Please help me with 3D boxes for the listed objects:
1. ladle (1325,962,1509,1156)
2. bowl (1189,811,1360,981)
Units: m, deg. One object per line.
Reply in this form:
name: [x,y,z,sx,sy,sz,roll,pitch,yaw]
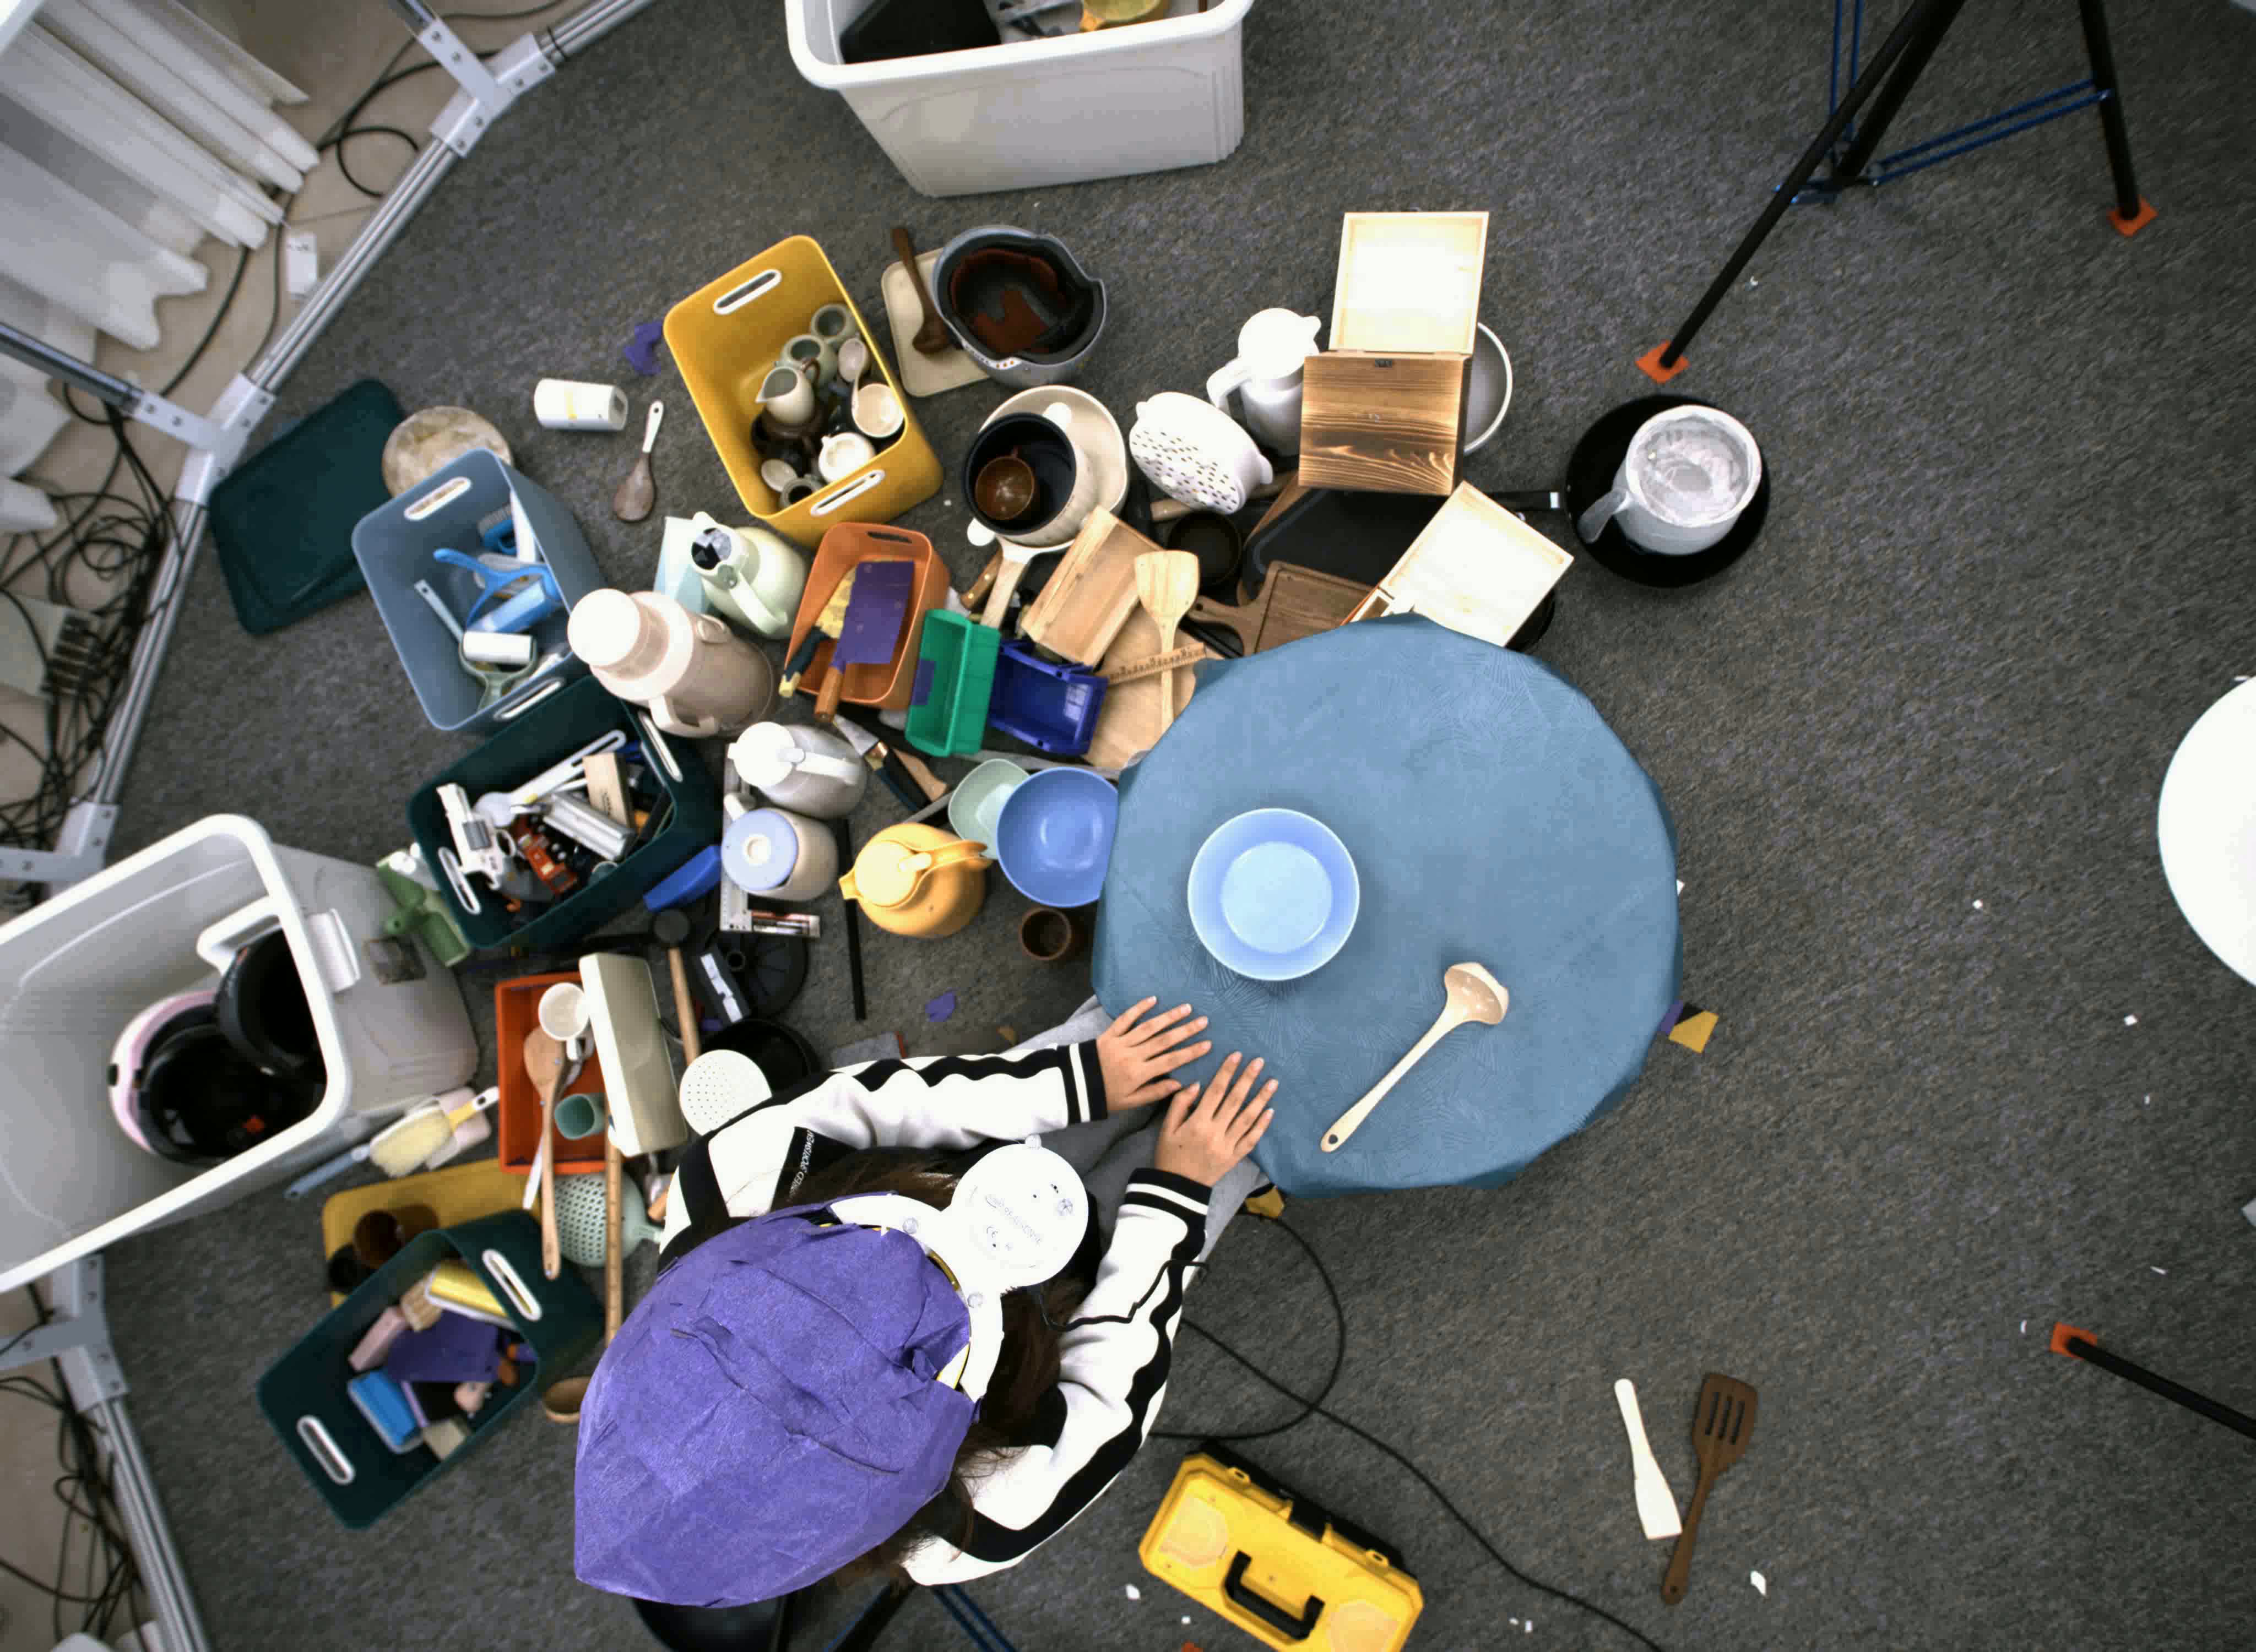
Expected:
ladle: [0.287,0.243,1.410,0.072,0.073,0.255,42,95,12]
bowl: [0.154,0.074,1.446,0.177,0.070,0.175,-1,86,11]
